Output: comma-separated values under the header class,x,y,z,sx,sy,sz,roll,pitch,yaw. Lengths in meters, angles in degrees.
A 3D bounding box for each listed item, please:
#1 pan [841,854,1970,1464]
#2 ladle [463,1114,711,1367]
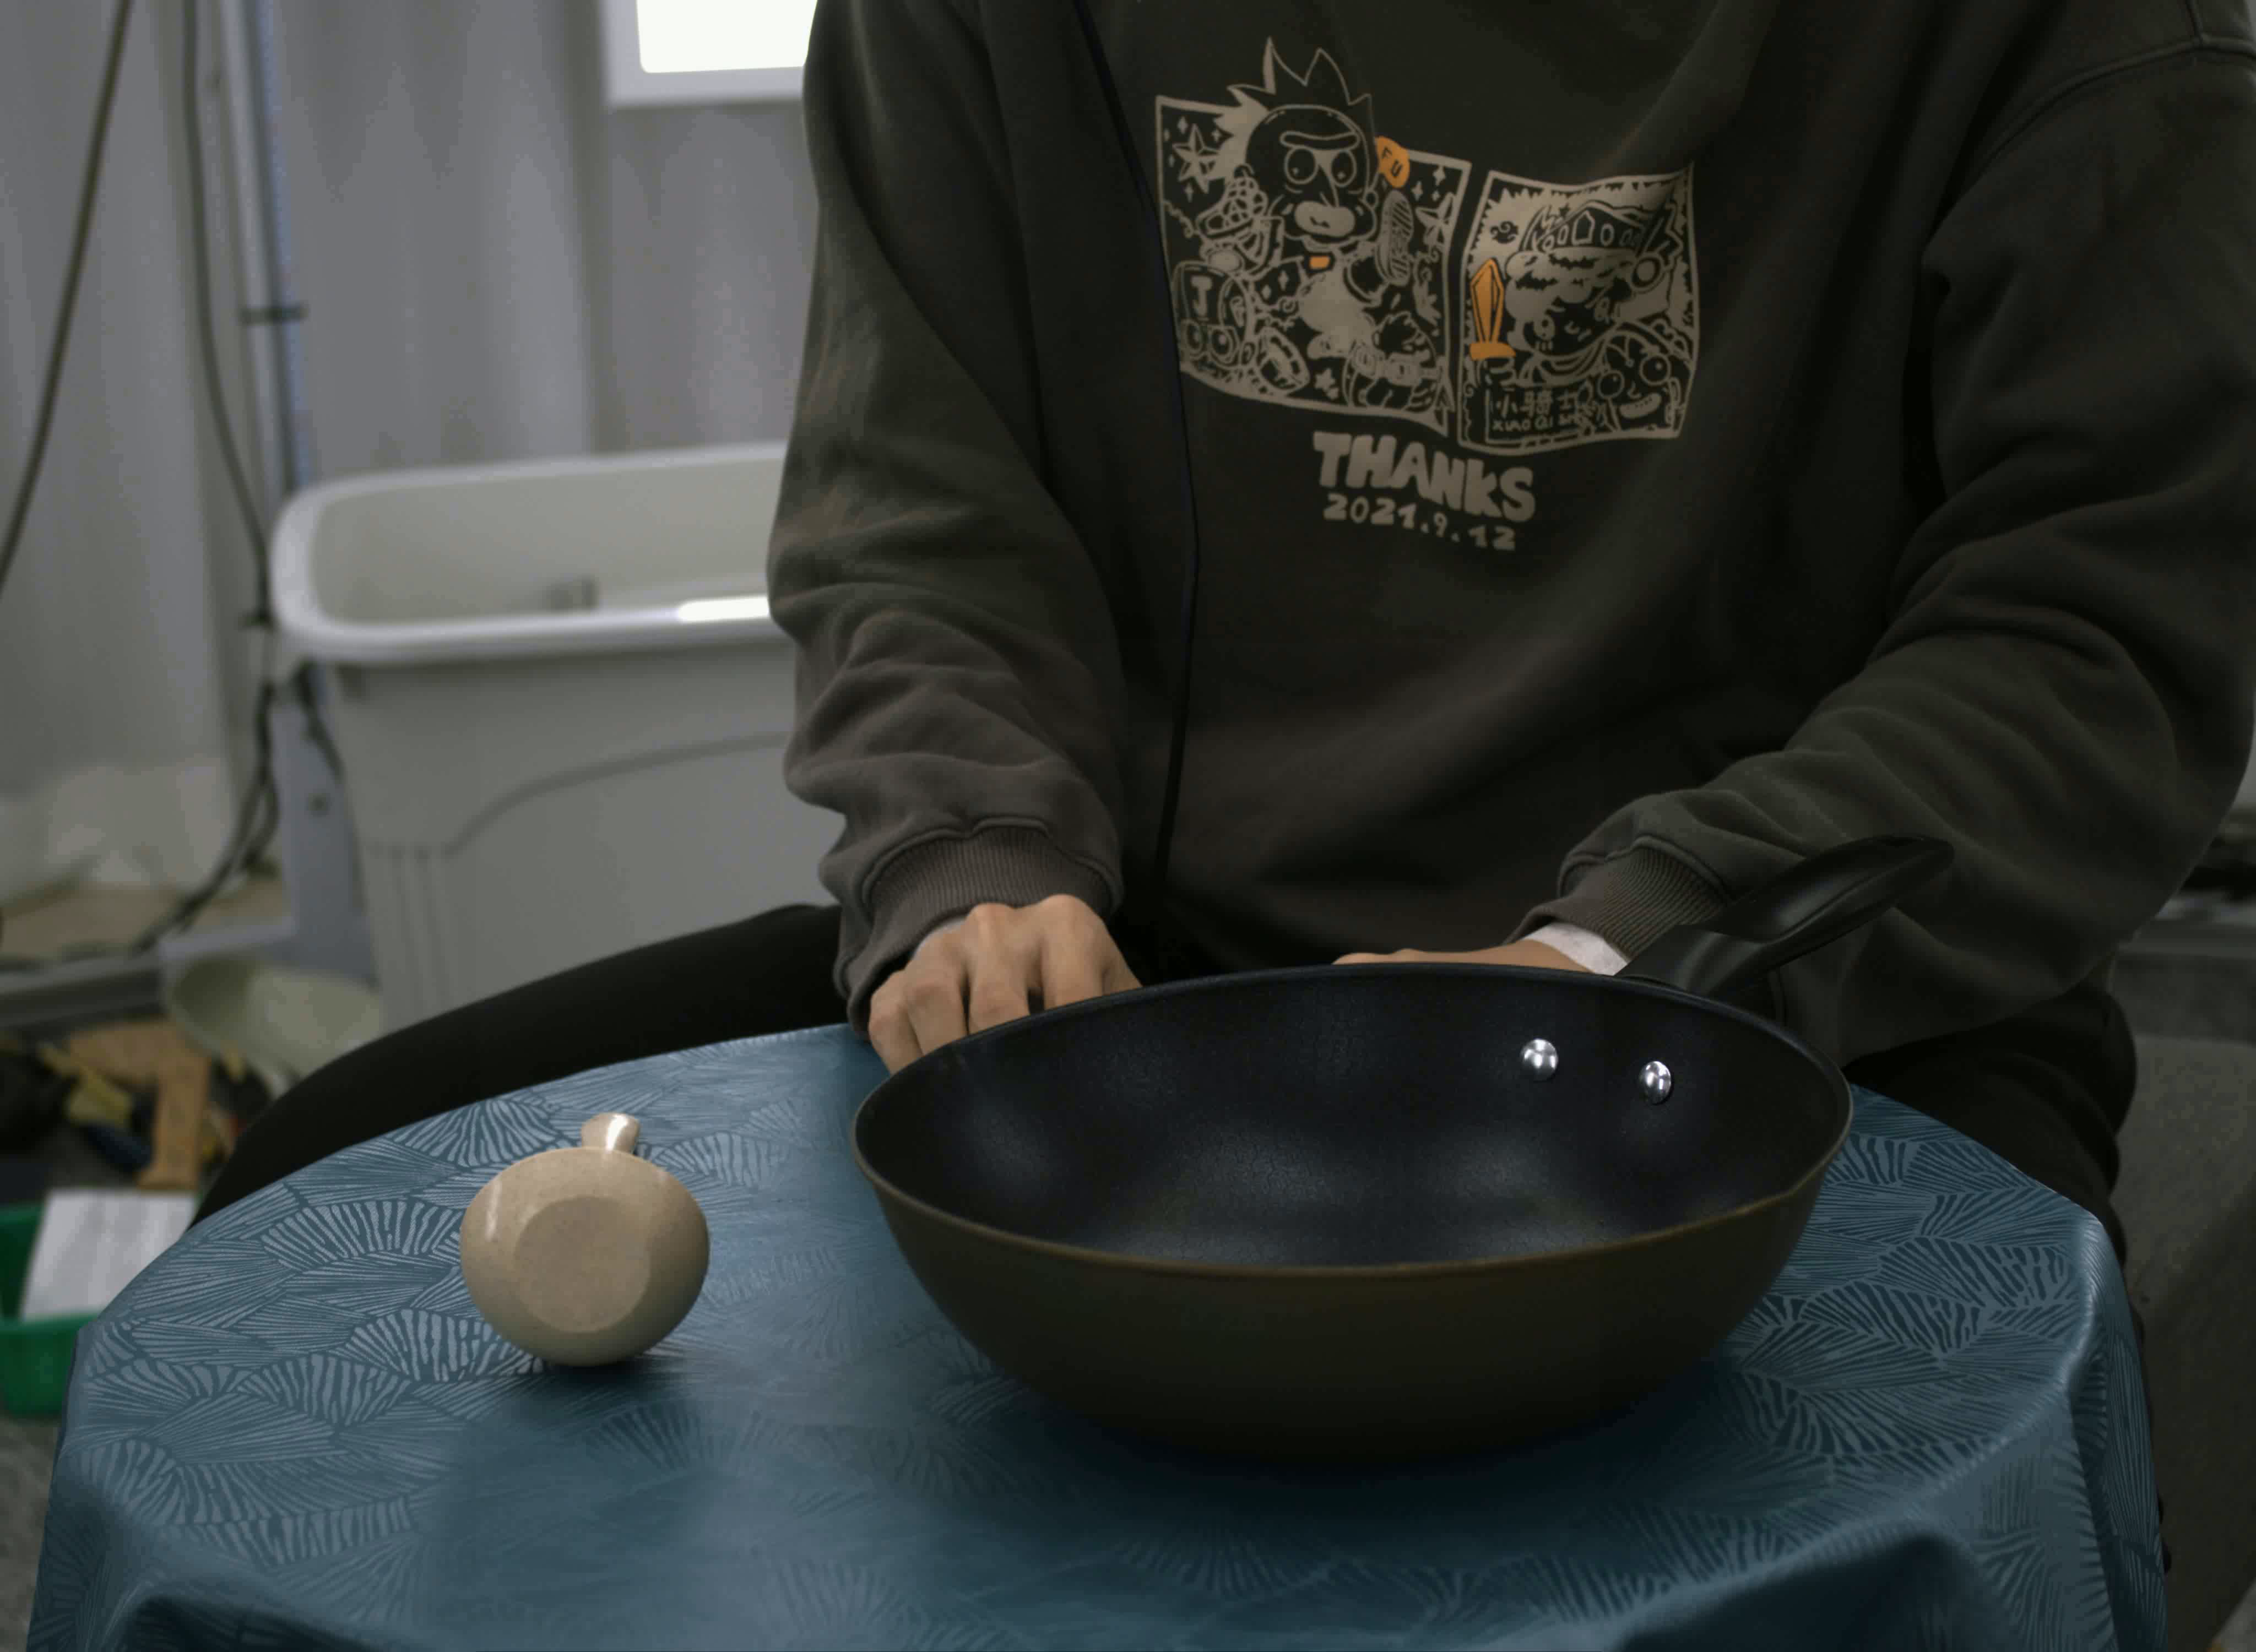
class,x,y,z,sx,sy,sz,roll,pitch,yaw
pan,0.117,0.095,1.615,0.289,0.086,0.463,8,18,37
ladle,-0.168,0.097,1.682,0.072,0.072,0.256,-10,15,-4
